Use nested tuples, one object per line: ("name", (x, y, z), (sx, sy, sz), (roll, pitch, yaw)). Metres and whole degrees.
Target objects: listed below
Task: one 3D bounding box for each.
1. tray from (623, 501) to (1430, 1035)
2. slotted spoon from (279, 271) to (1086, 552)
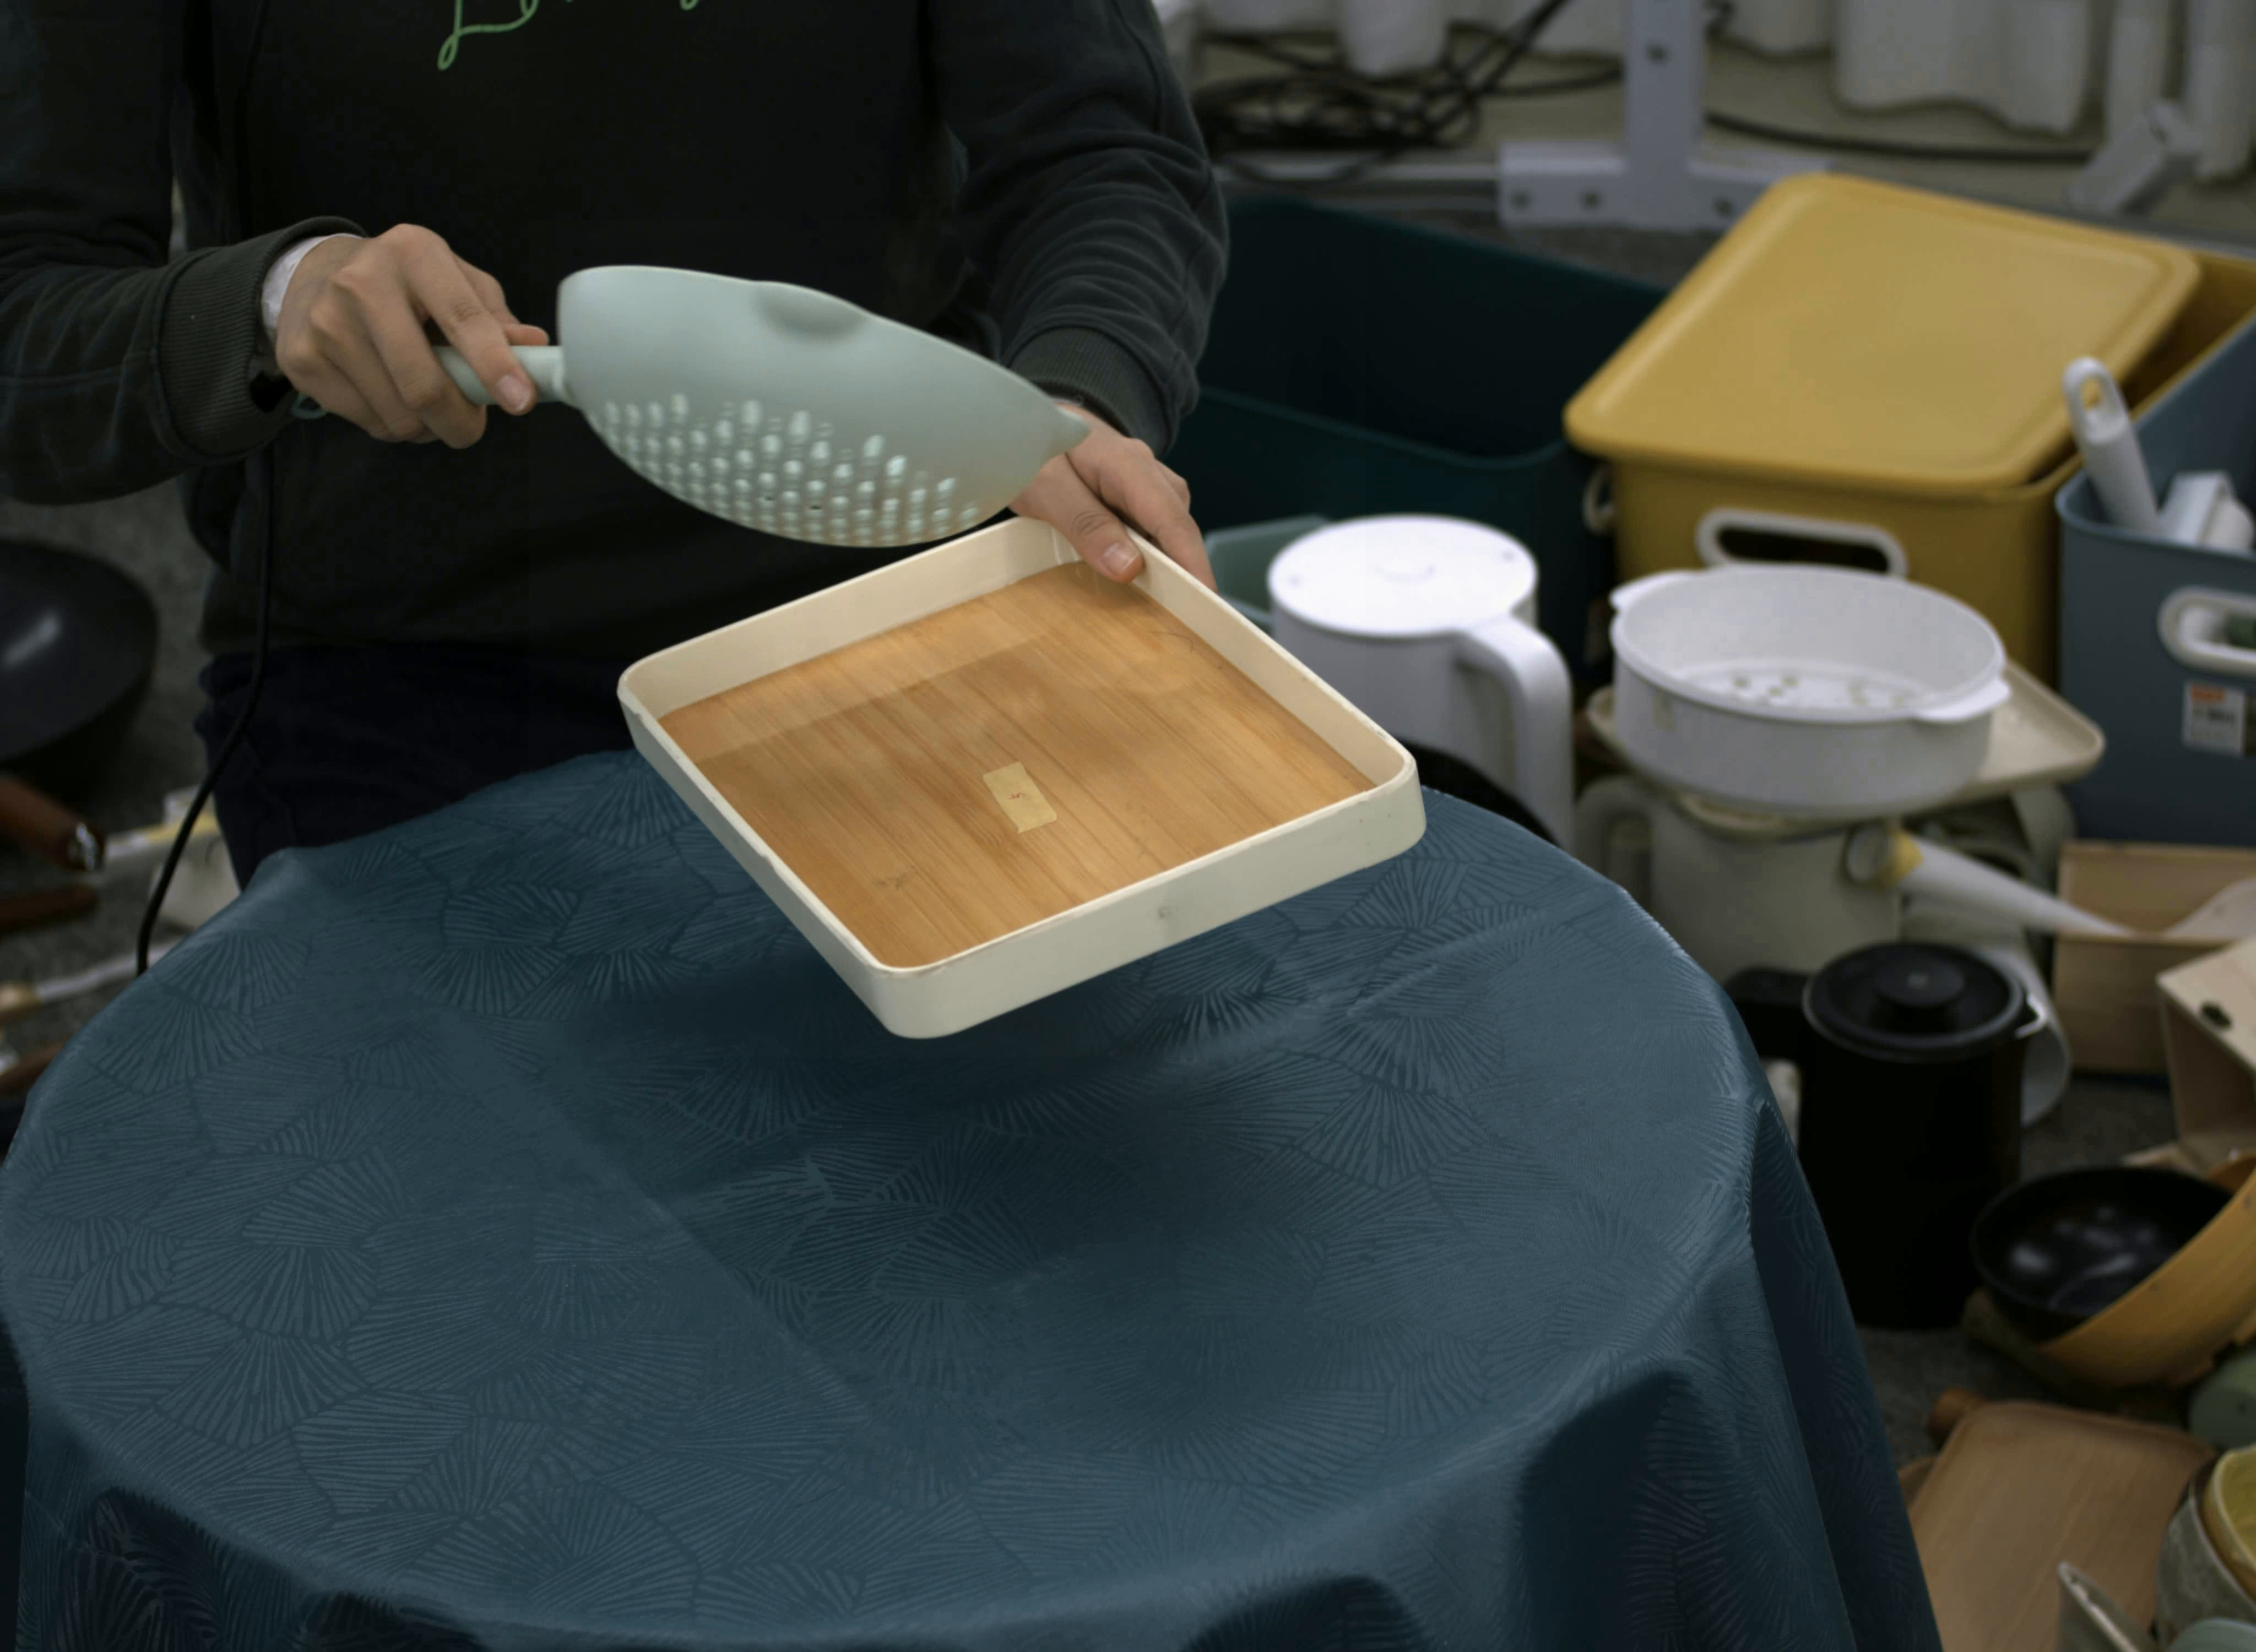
("tray", (-0.040, -0.025, 1.879), (0.192, 0.027, 0.302), (-21, 27, -15))
("slotted spoon", (-0.174, -0.143, 1.891), (0.169, 0.076, 0.357), (24, -6, -42))
